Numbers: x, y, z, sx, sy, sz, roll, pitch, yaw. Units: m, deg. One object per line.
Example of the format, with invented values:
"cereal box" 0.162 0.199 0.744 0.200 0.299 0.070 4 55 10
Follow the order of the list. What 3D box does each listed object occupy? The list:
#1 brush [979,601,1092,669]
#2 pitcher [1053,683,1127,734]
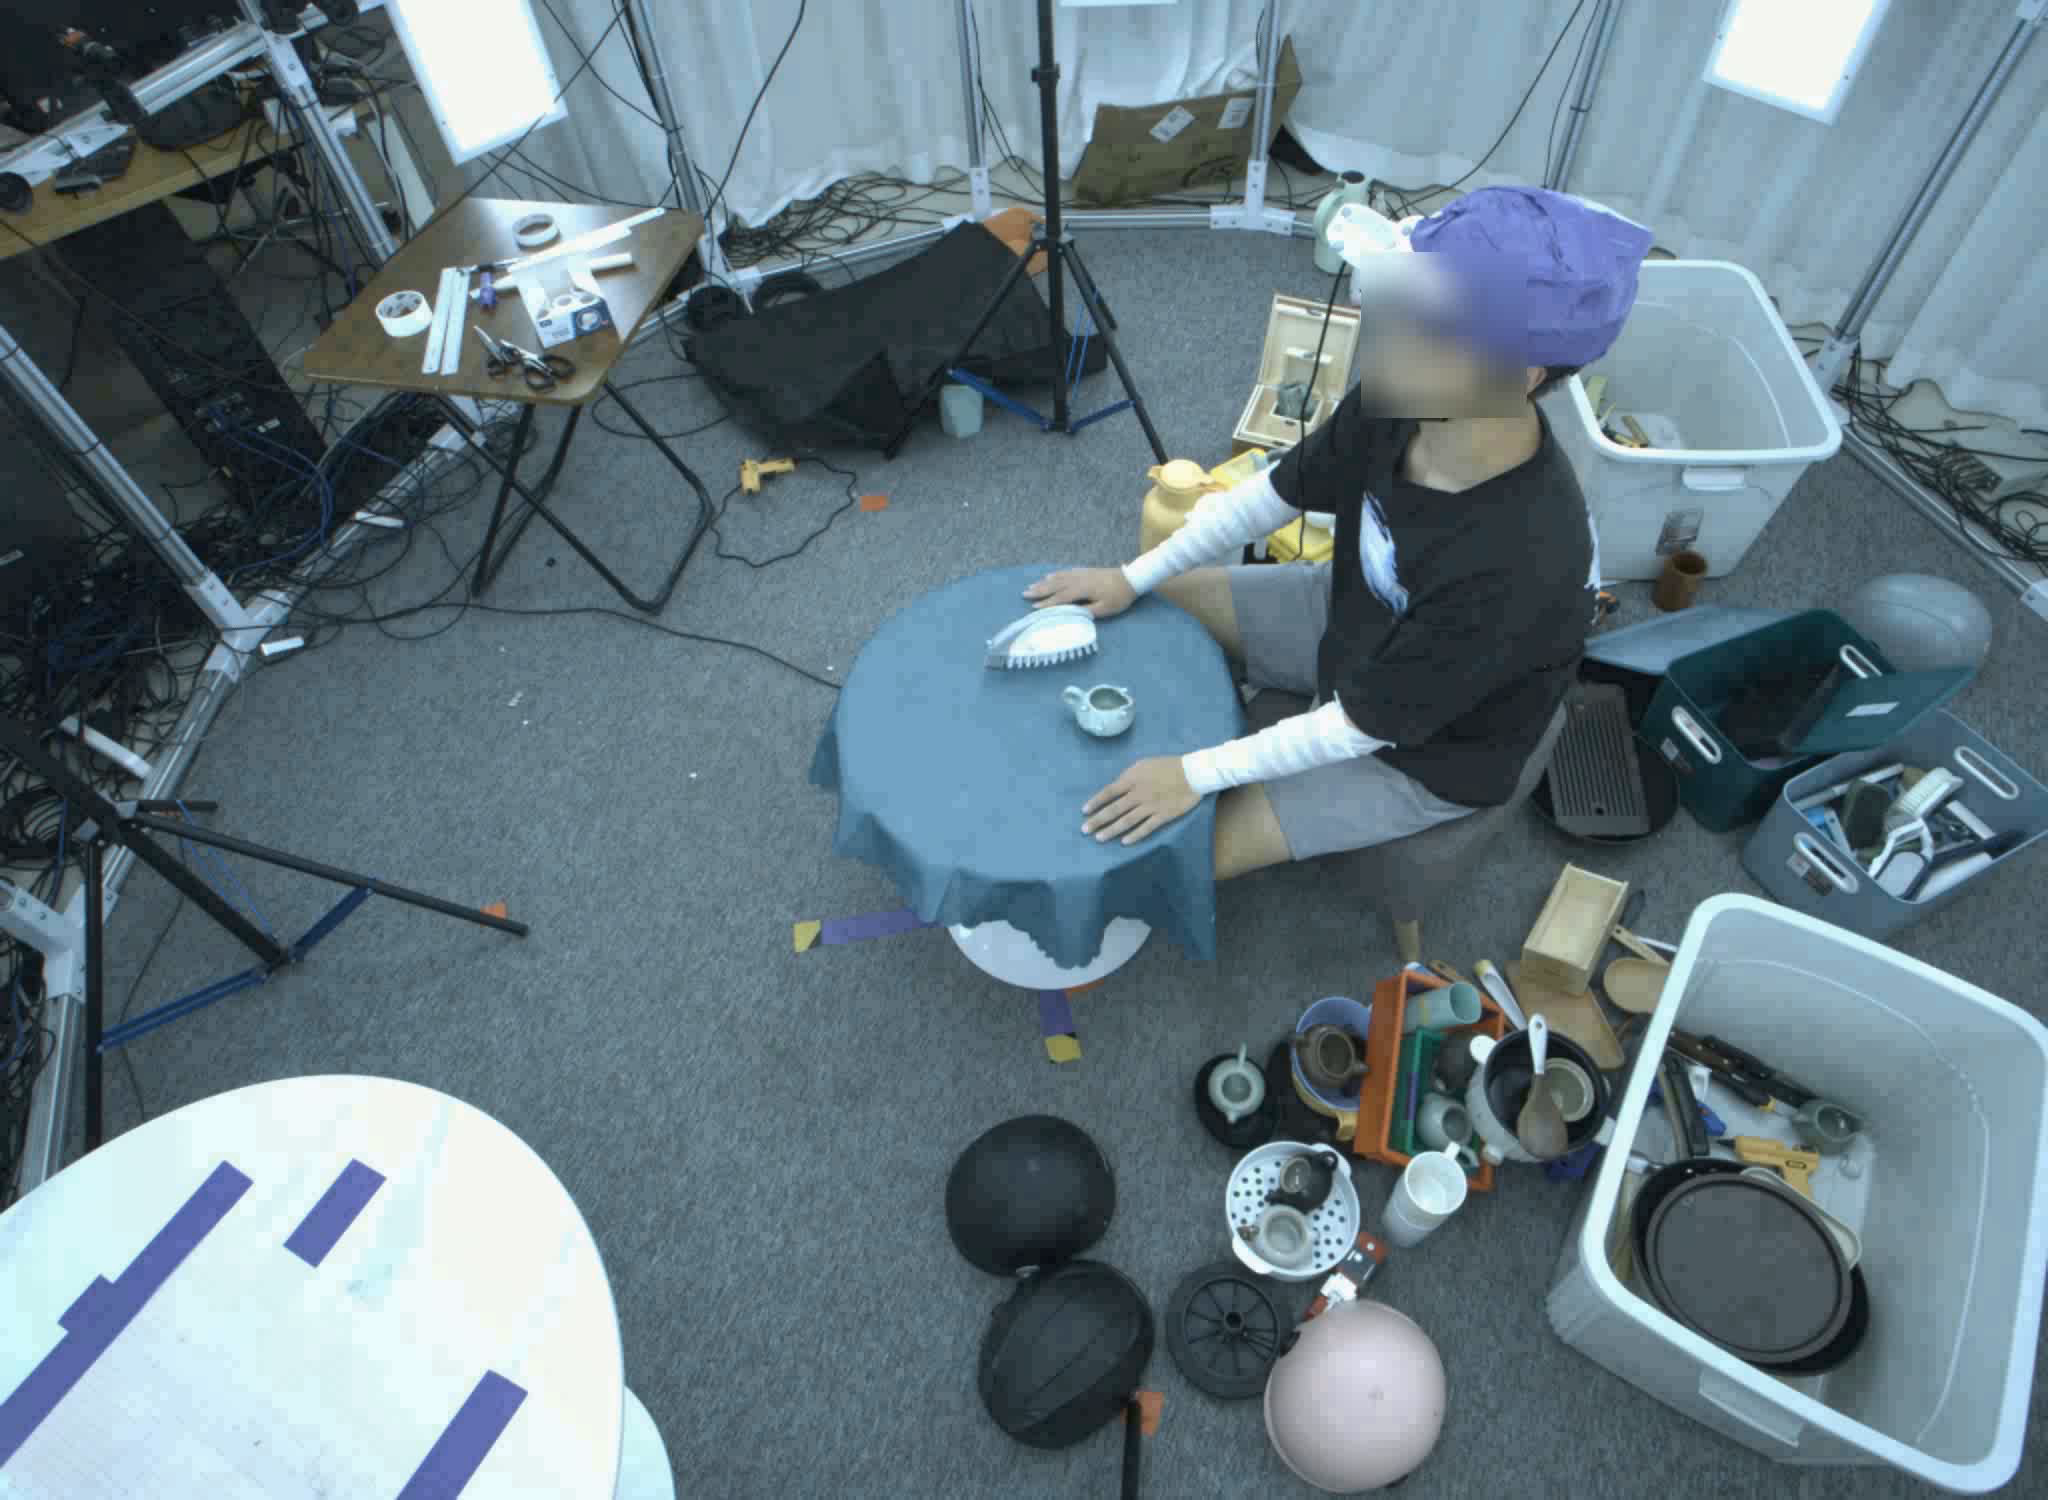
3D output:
"brush" 0.012 -0.175 1.847 0.176 0.095 0.060 -15 50 -6
"pitcher" 0.095 -0.065 1.787 0.107 0.061 0.085 9 54 11
